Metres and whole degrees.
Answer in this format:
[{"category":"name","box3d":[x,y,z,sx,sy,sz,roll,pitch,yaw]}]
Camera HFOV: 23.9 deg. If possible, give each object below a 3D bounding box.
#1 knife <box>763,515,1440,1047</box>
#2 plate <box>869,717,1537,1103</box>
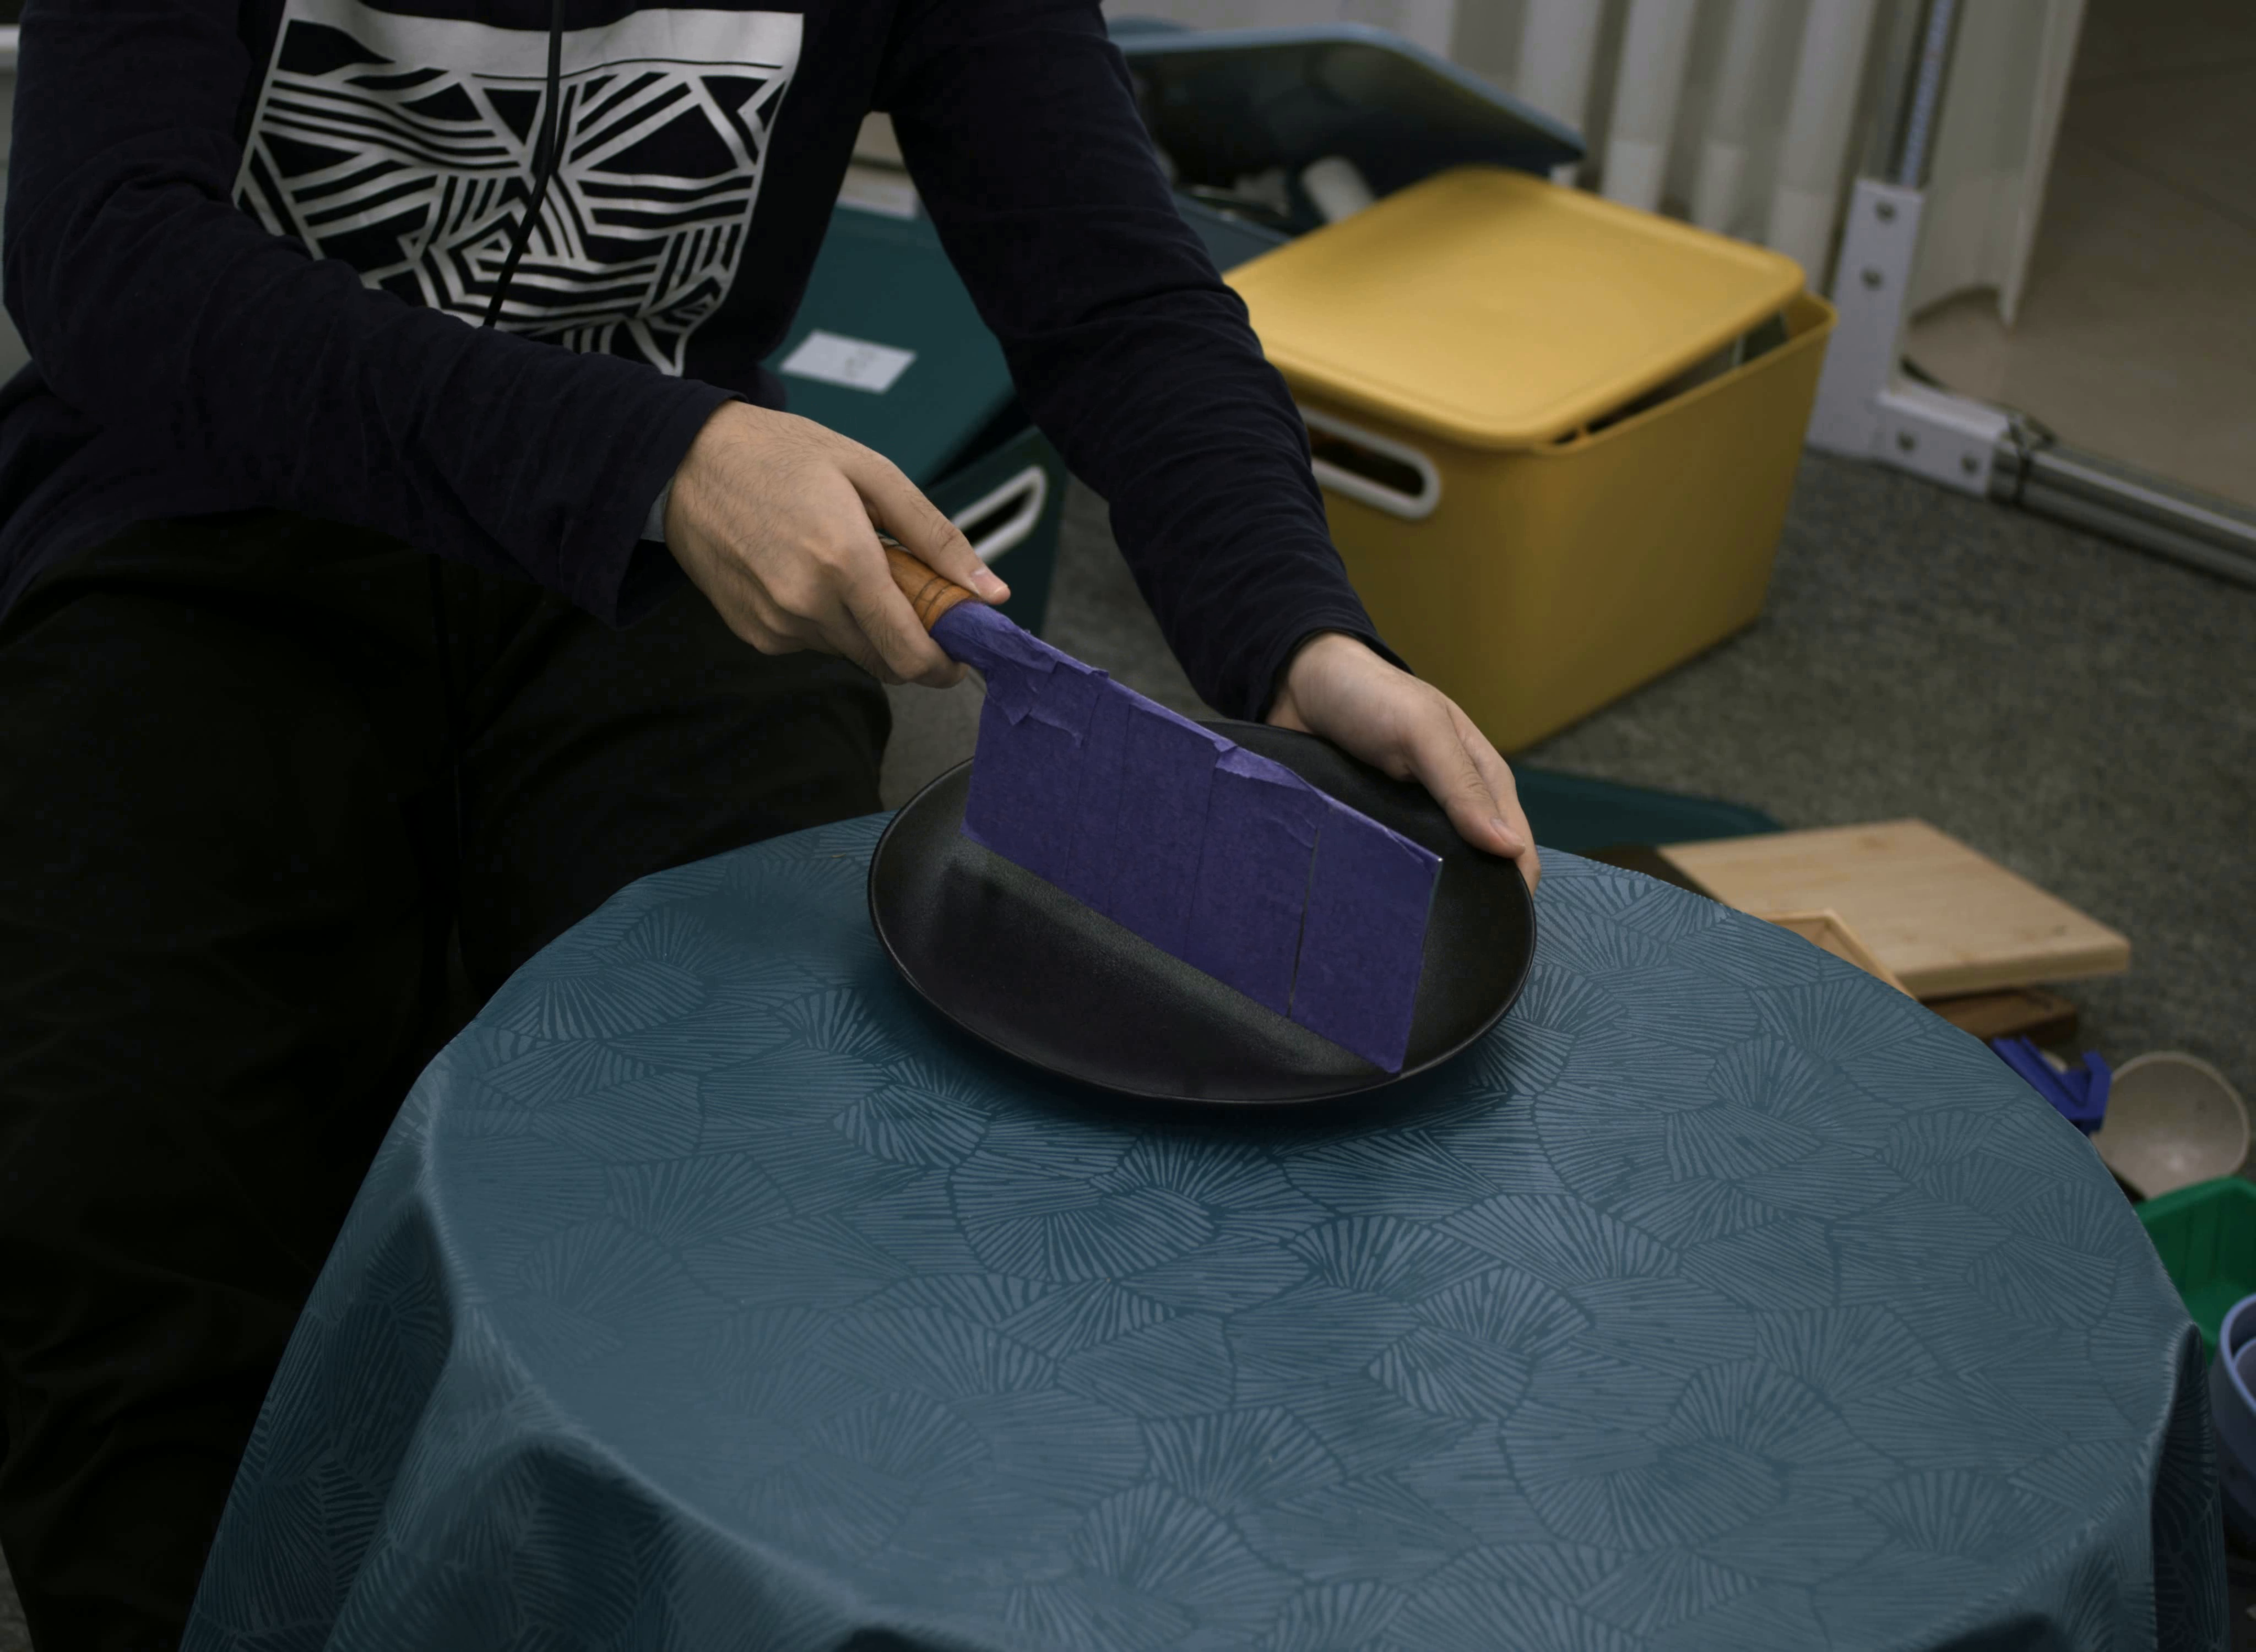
[{"category":"knife","box3d":[-0.017,-0.015,1.911,0.317,0.103,0.032,29,31,34]},{"category":"plate","box3d":[0.027,0.035,1.937,0.243,0.023,0.246,2,33,-1]}]
